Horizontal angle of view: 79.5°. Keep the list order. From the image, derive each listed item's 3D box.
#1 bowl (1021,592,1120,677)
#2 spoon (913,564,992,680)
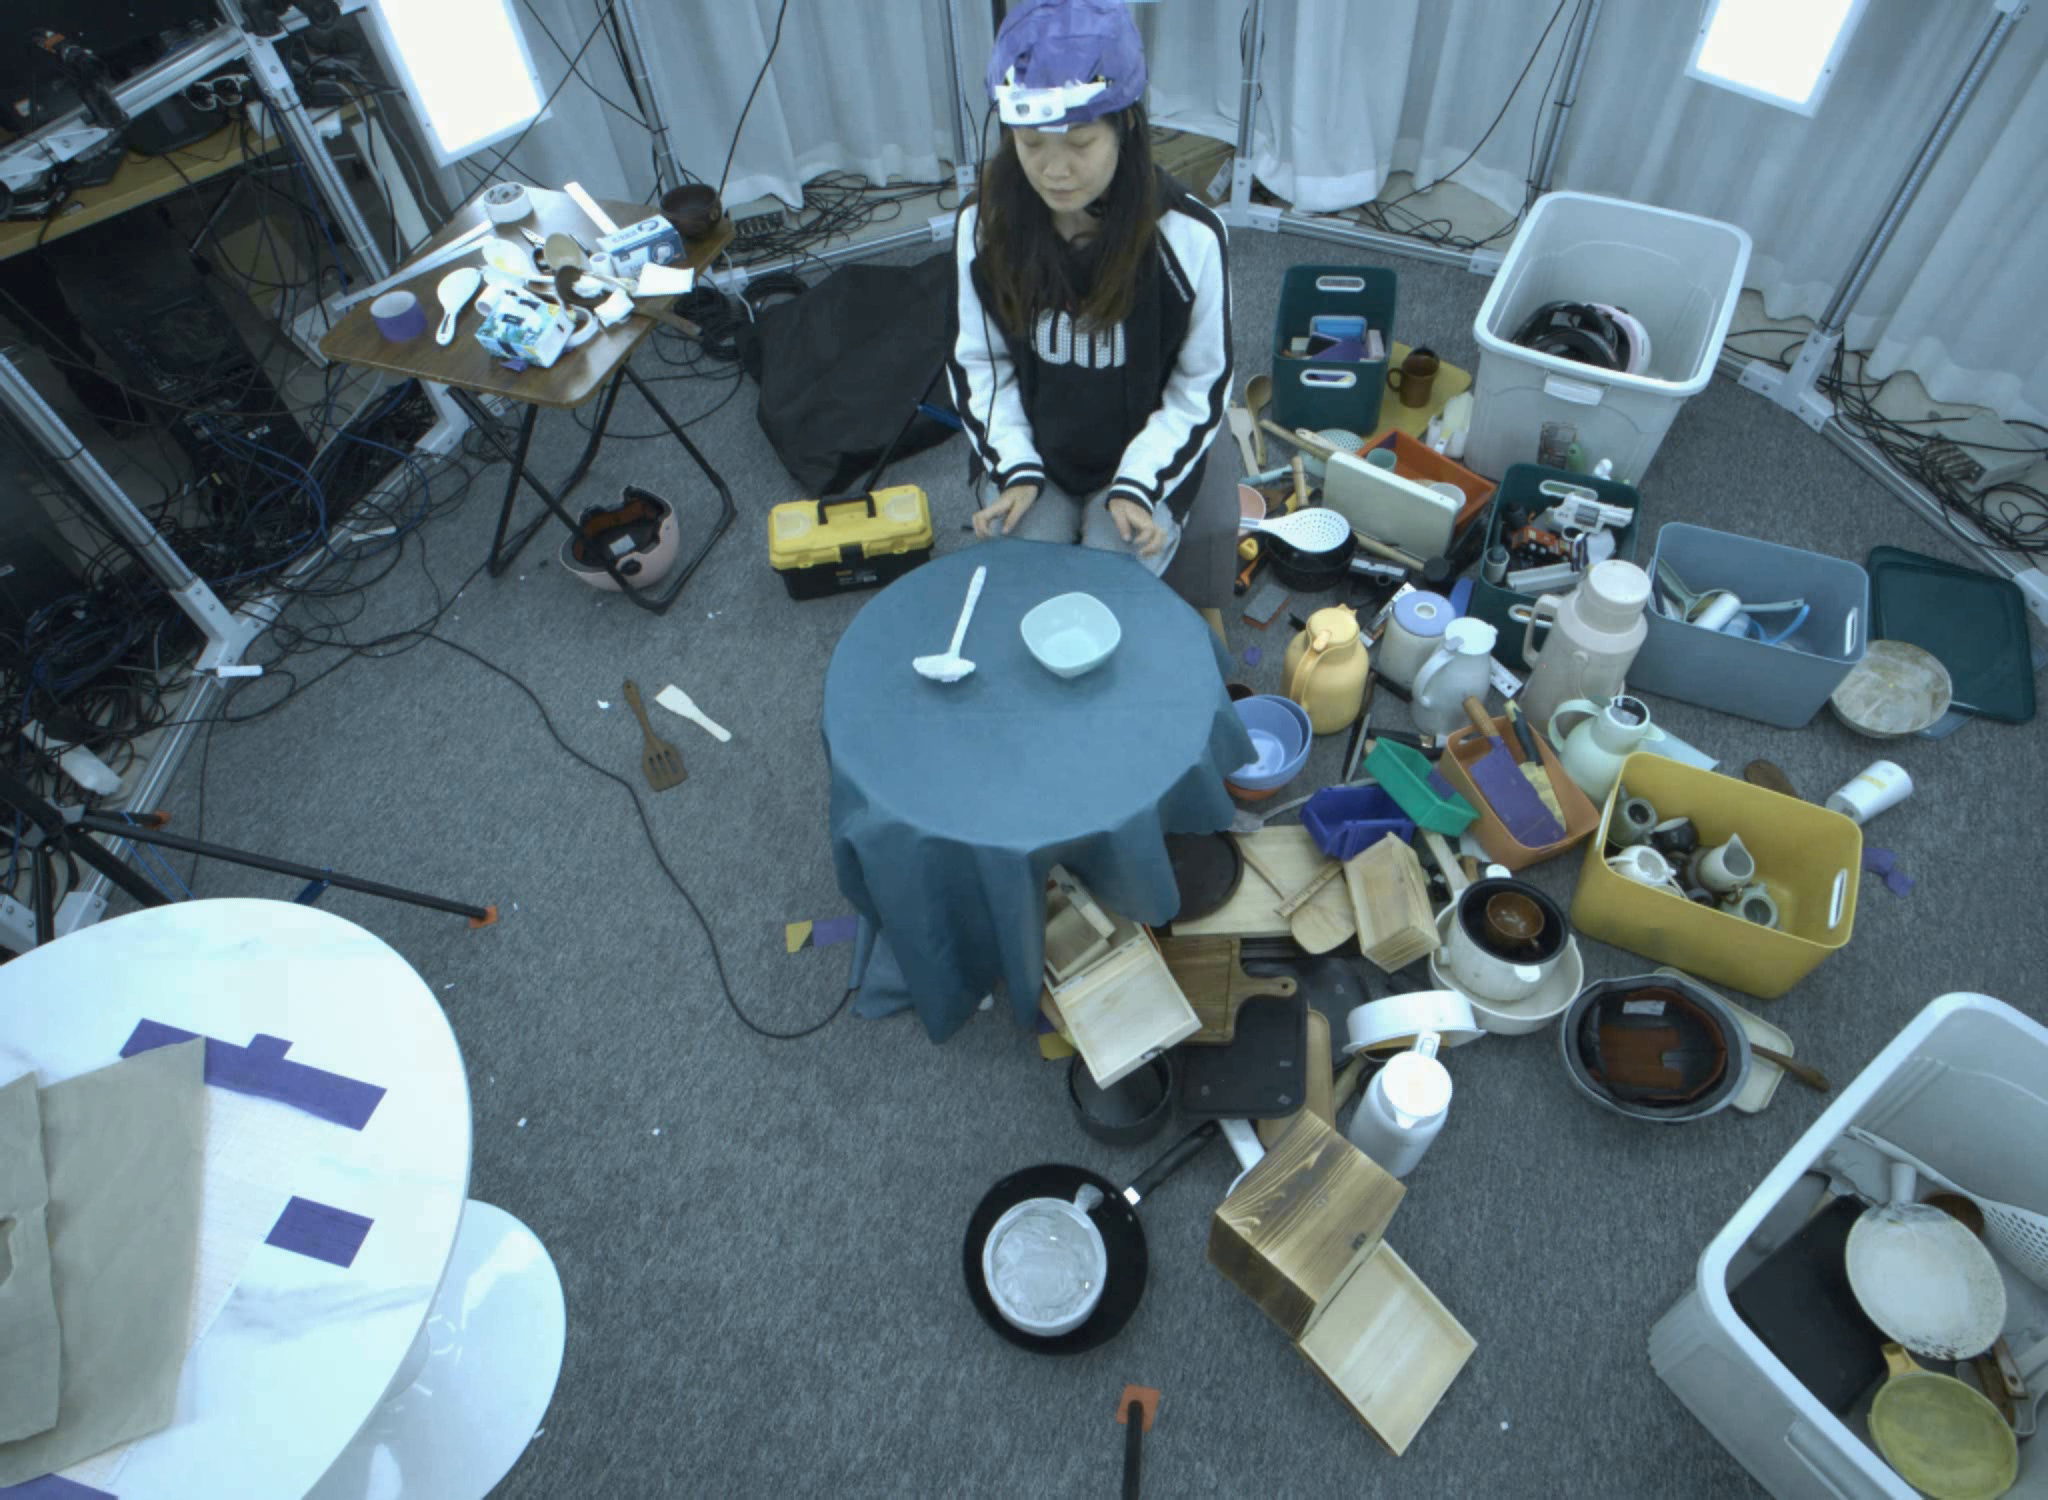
[{"bbox_3d":[0.071,-0.165,1.870,0.151,0.059,0.150,0,55,2],"label":"bowl"},{"bbox_3d":[-0.091,-0.206,1.901,0.100,0.060,0.276,14,57,7],"label":"spoon"}]
